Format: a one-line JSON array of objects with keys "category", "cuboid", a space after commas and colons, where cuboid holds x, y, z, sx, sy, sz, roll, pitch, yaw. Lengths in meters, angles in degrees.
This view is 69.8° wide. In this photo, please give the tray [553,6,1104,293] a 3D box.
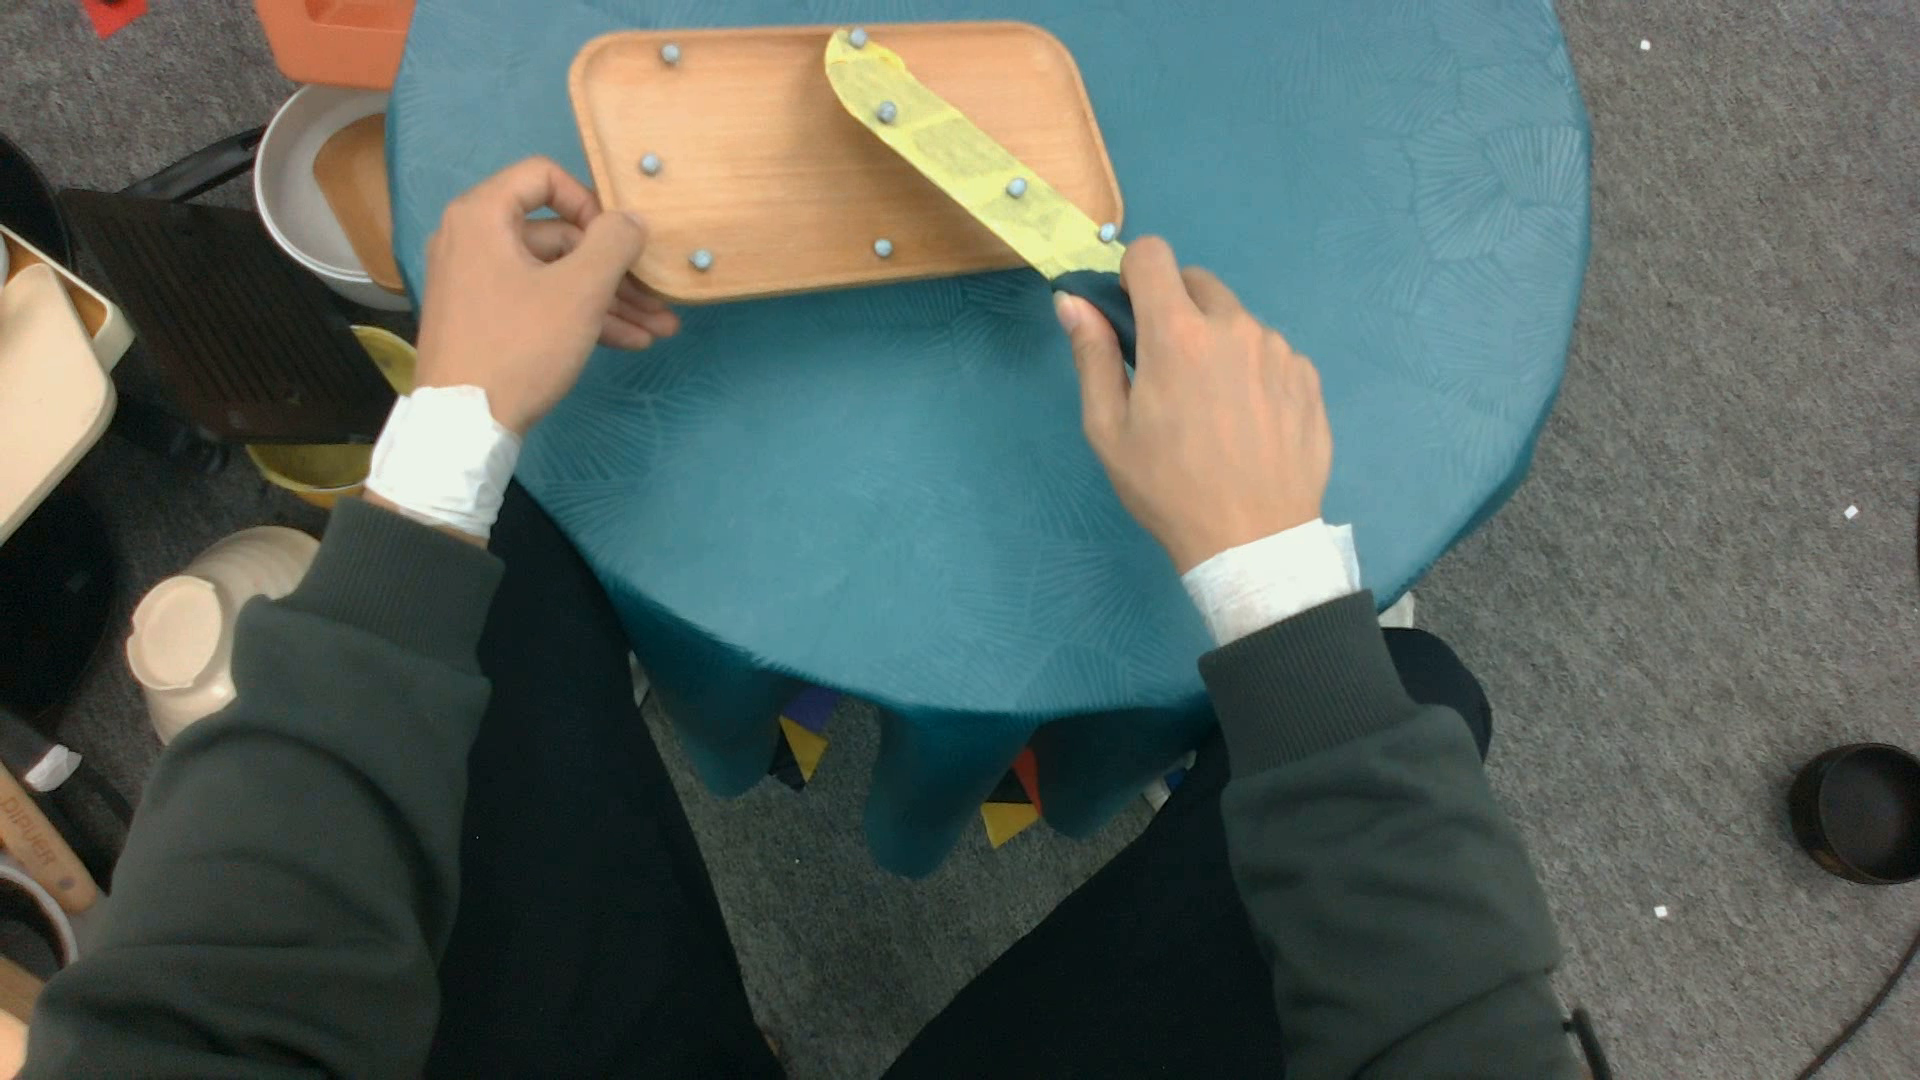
[{"category": "tray", "cuboid": [-0.053, -0.184, 0.634, 0.251, 0.023, 0.130, -12, 81, -27]}]

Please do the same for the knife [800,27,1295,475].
[{"category": "knife", "cuboid": [0.037, -0.133, 0.603, 0.289, 0.027, 0.081, 43, 40, 7]}]
